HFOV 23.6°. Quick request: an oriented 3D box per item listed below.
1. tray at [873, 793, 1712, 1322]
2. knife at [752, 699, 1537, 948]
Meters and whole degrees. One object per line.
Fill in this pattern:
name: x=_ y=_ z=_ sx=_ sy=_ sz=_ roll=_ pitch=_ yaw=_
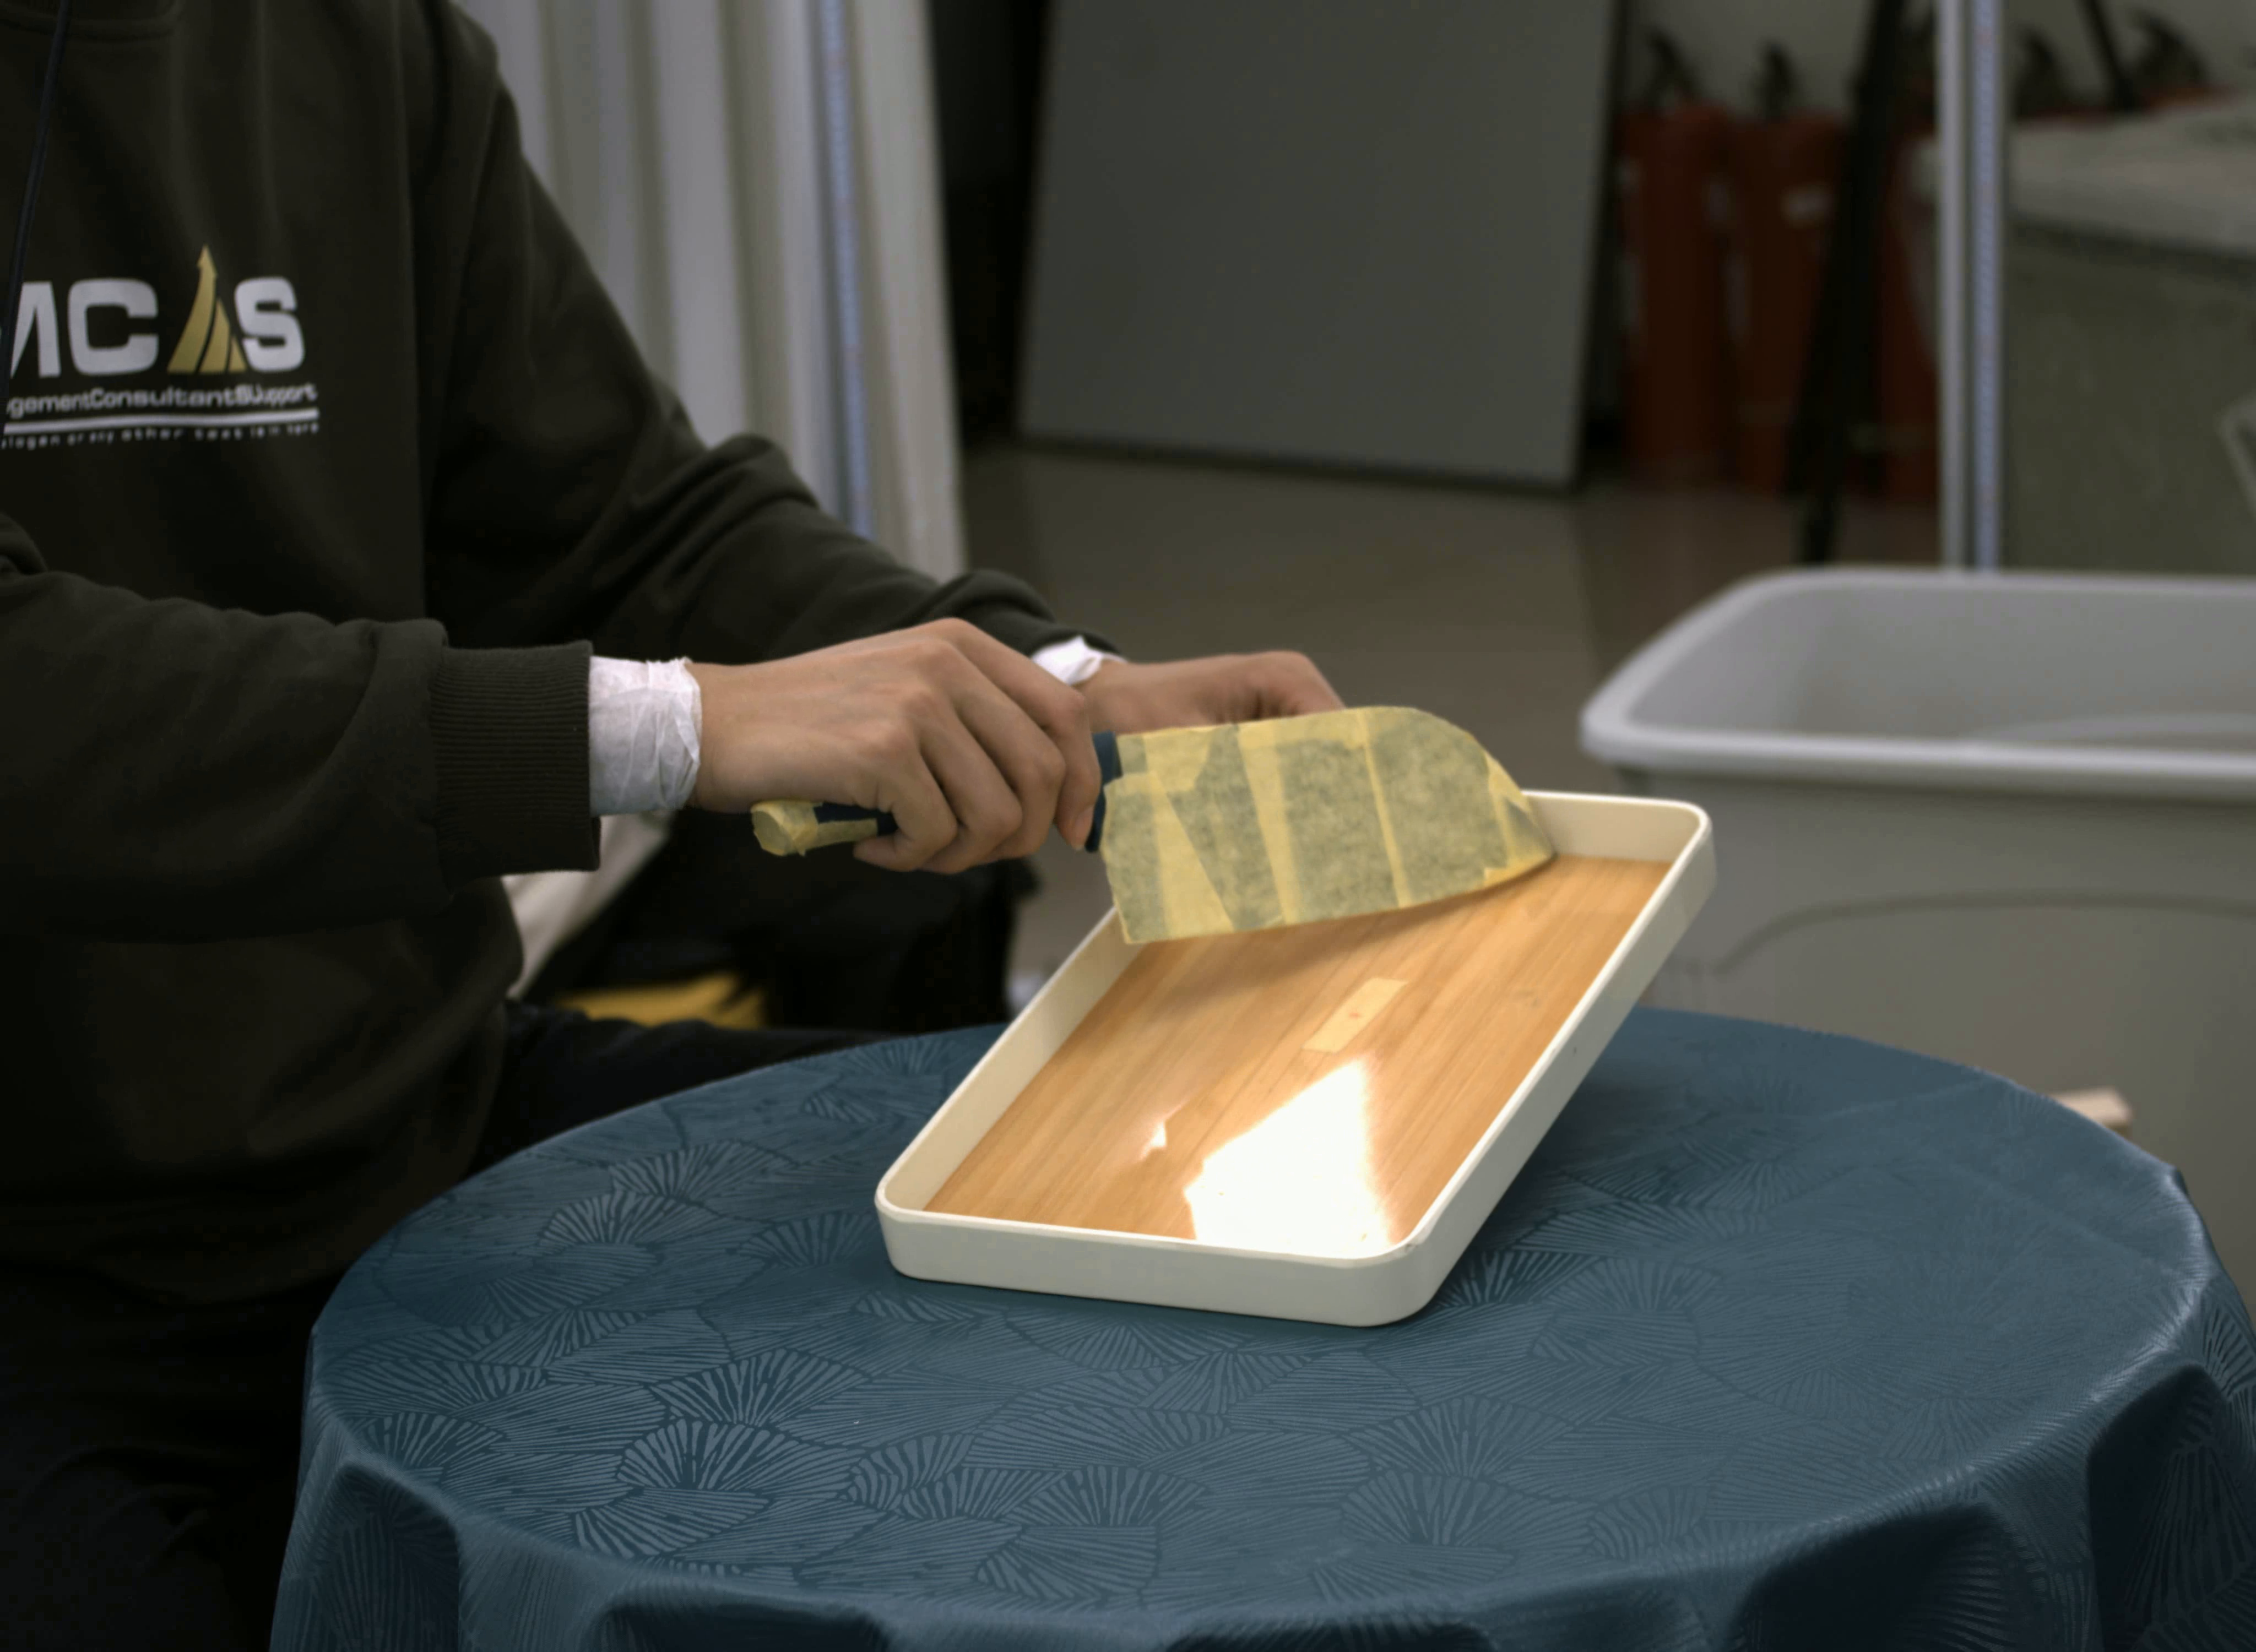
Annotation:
tray: x=0.060 y=0.068 z=1.772 sx=0.192 sy=0.027 sz=0.297 roll=2 pitch=29 yaw=28
knife: x=0.011 y=0.001 z=1.810 sx=0.283 sy=0.082 sz=0.027 roll=-5 pitch=-18 yaw=-22
